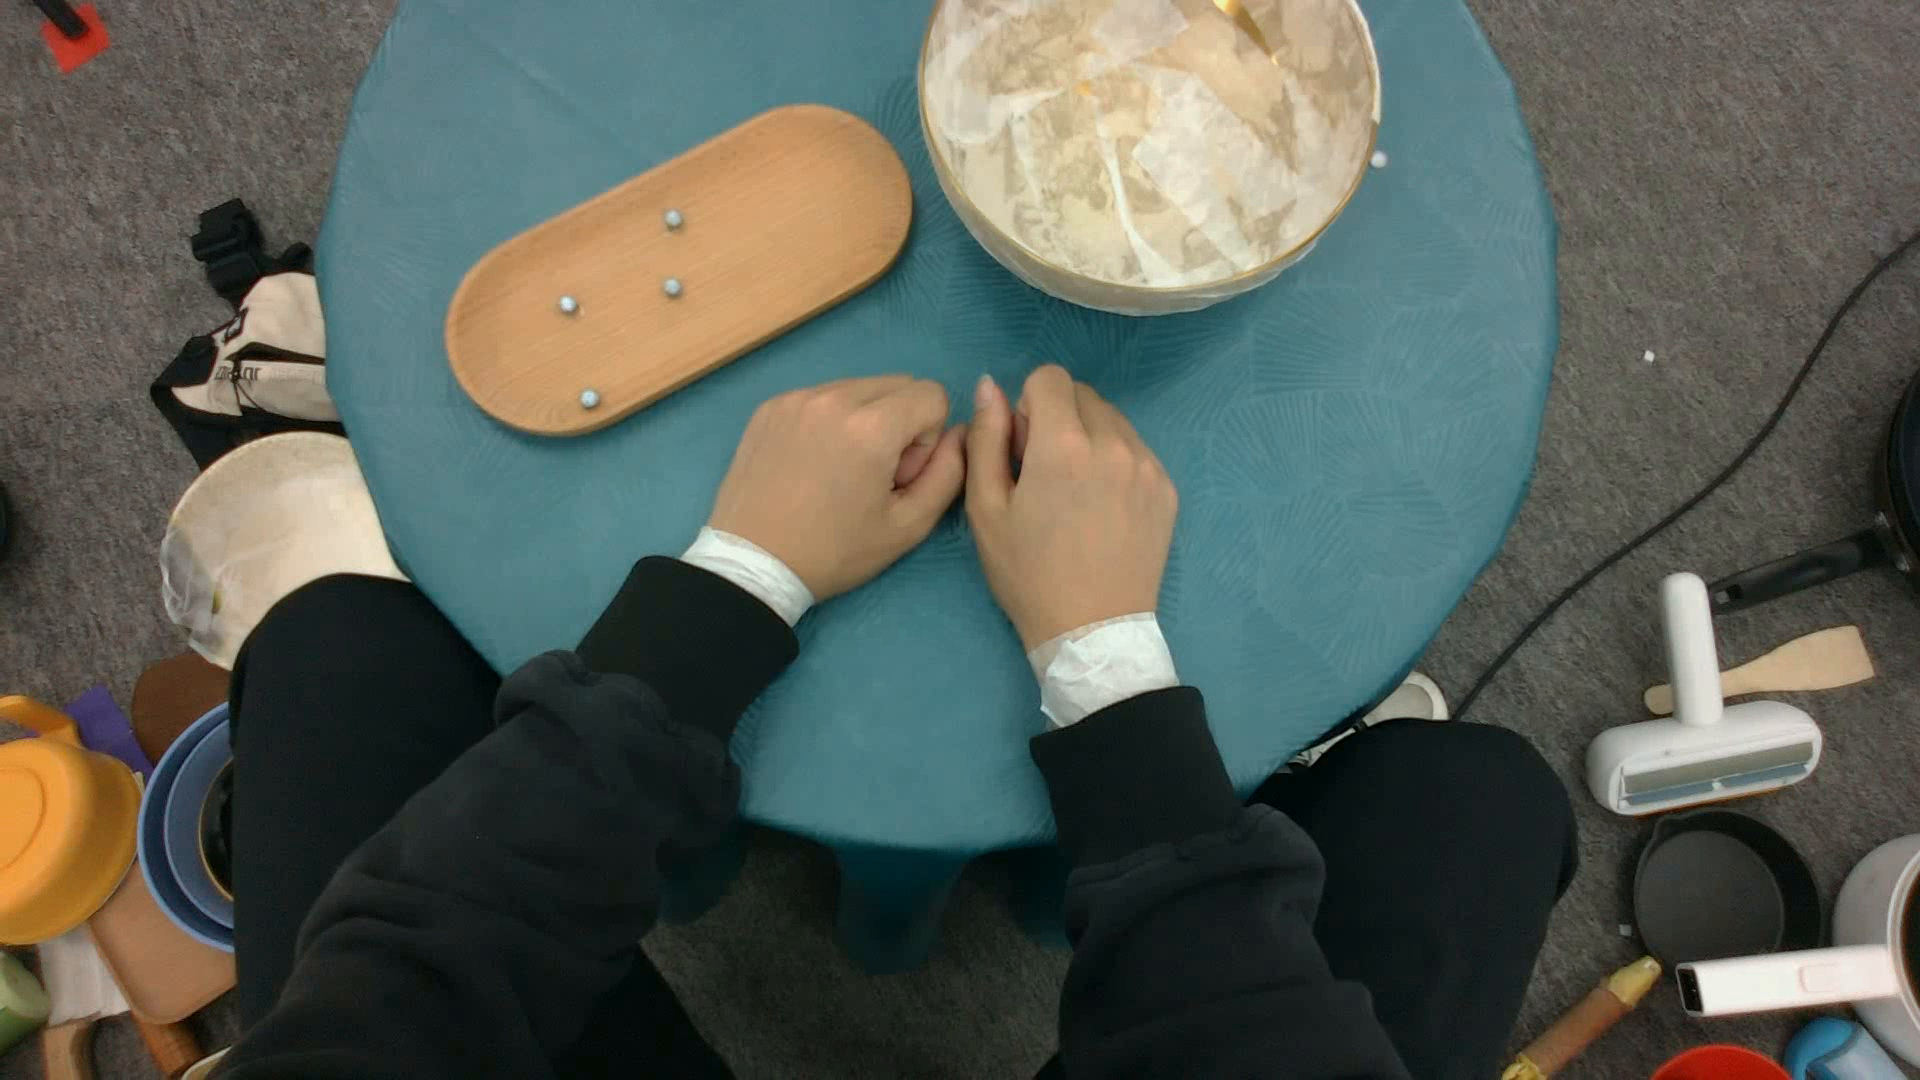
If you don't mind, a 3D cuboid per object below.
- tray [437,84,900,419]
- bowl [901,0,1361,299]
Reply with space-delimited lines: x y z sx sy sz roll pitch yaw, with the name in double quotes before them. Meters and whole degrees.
"tray" -0.135 -0.138 0.653 0.231 0.020 0.102 -31 82 -13
"bowl" 0.070 -0.196 0.641 0.215 0.094 0.215 1 76 -4
